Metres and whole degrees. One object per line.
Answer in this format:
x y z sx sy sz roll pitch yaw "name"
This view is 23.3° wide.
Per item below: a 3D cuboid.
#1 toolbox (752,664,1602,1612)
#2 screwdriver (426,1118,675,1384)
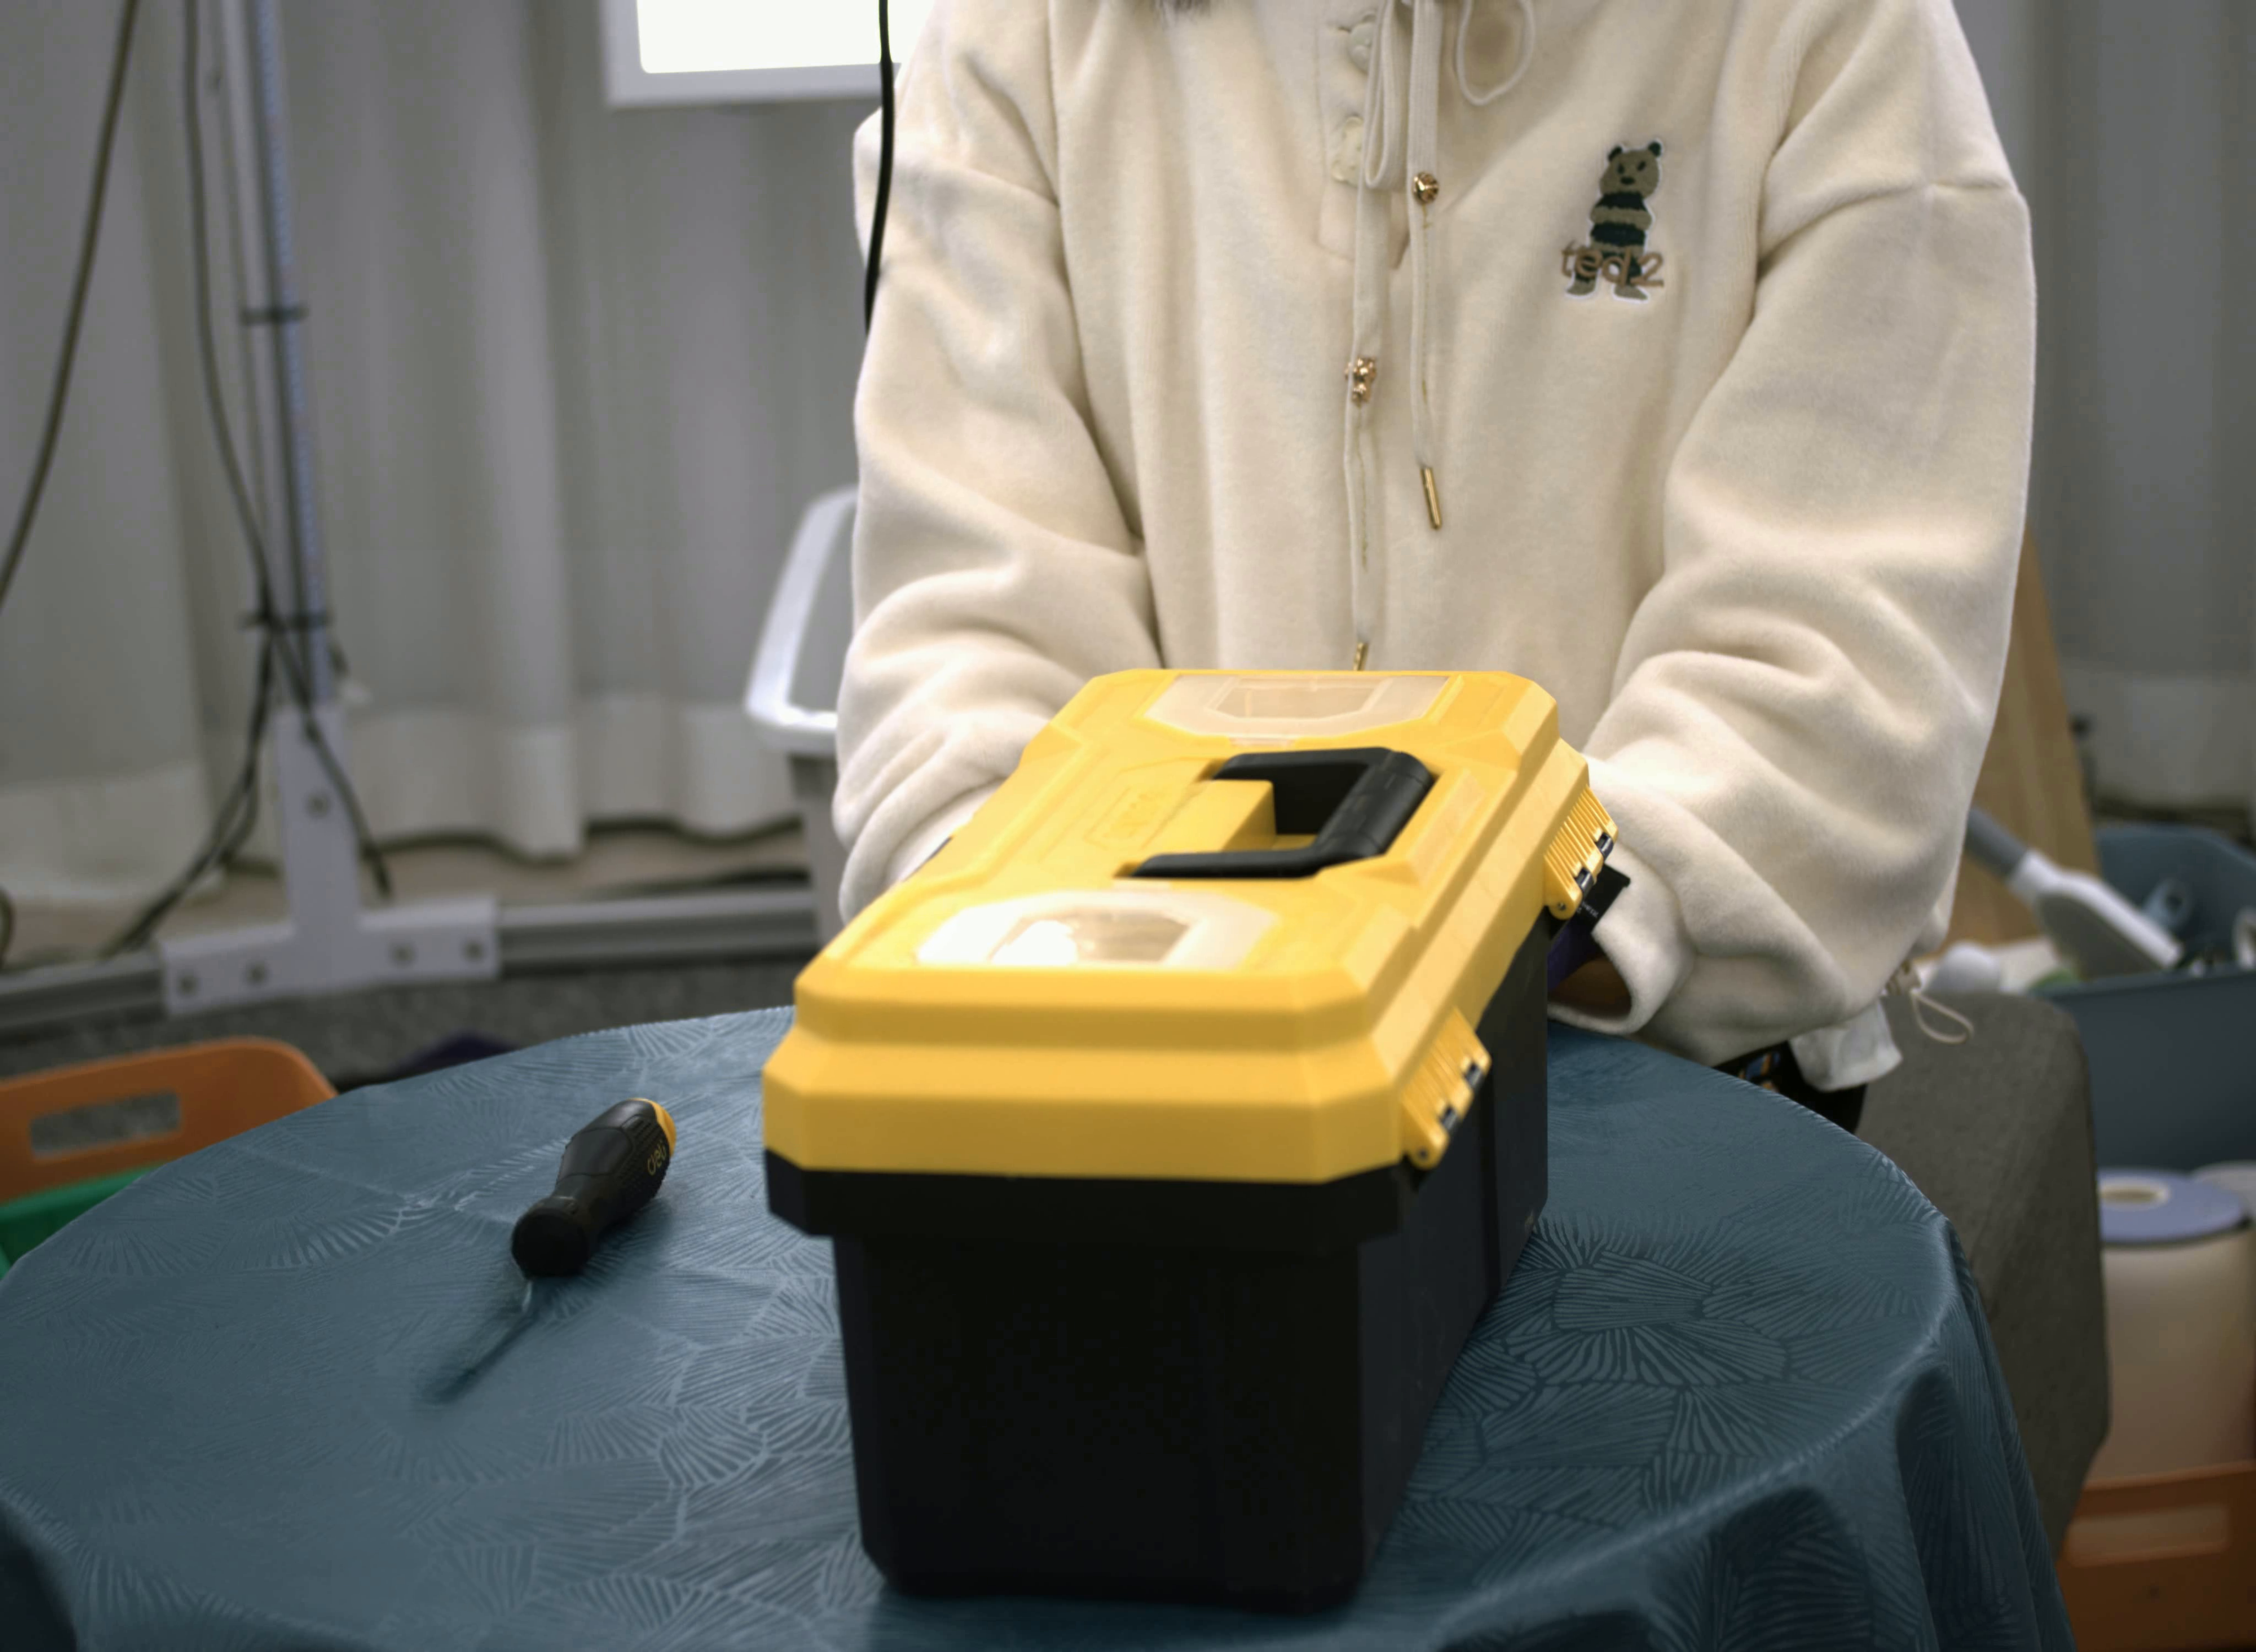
0.026 0.076 1.518 0.181 0.172 0.353 1 15 14 "toolbox"
-0.176 0.133 1.659 0.031 0.031 0.199 1 20 14 "screwdriver"
